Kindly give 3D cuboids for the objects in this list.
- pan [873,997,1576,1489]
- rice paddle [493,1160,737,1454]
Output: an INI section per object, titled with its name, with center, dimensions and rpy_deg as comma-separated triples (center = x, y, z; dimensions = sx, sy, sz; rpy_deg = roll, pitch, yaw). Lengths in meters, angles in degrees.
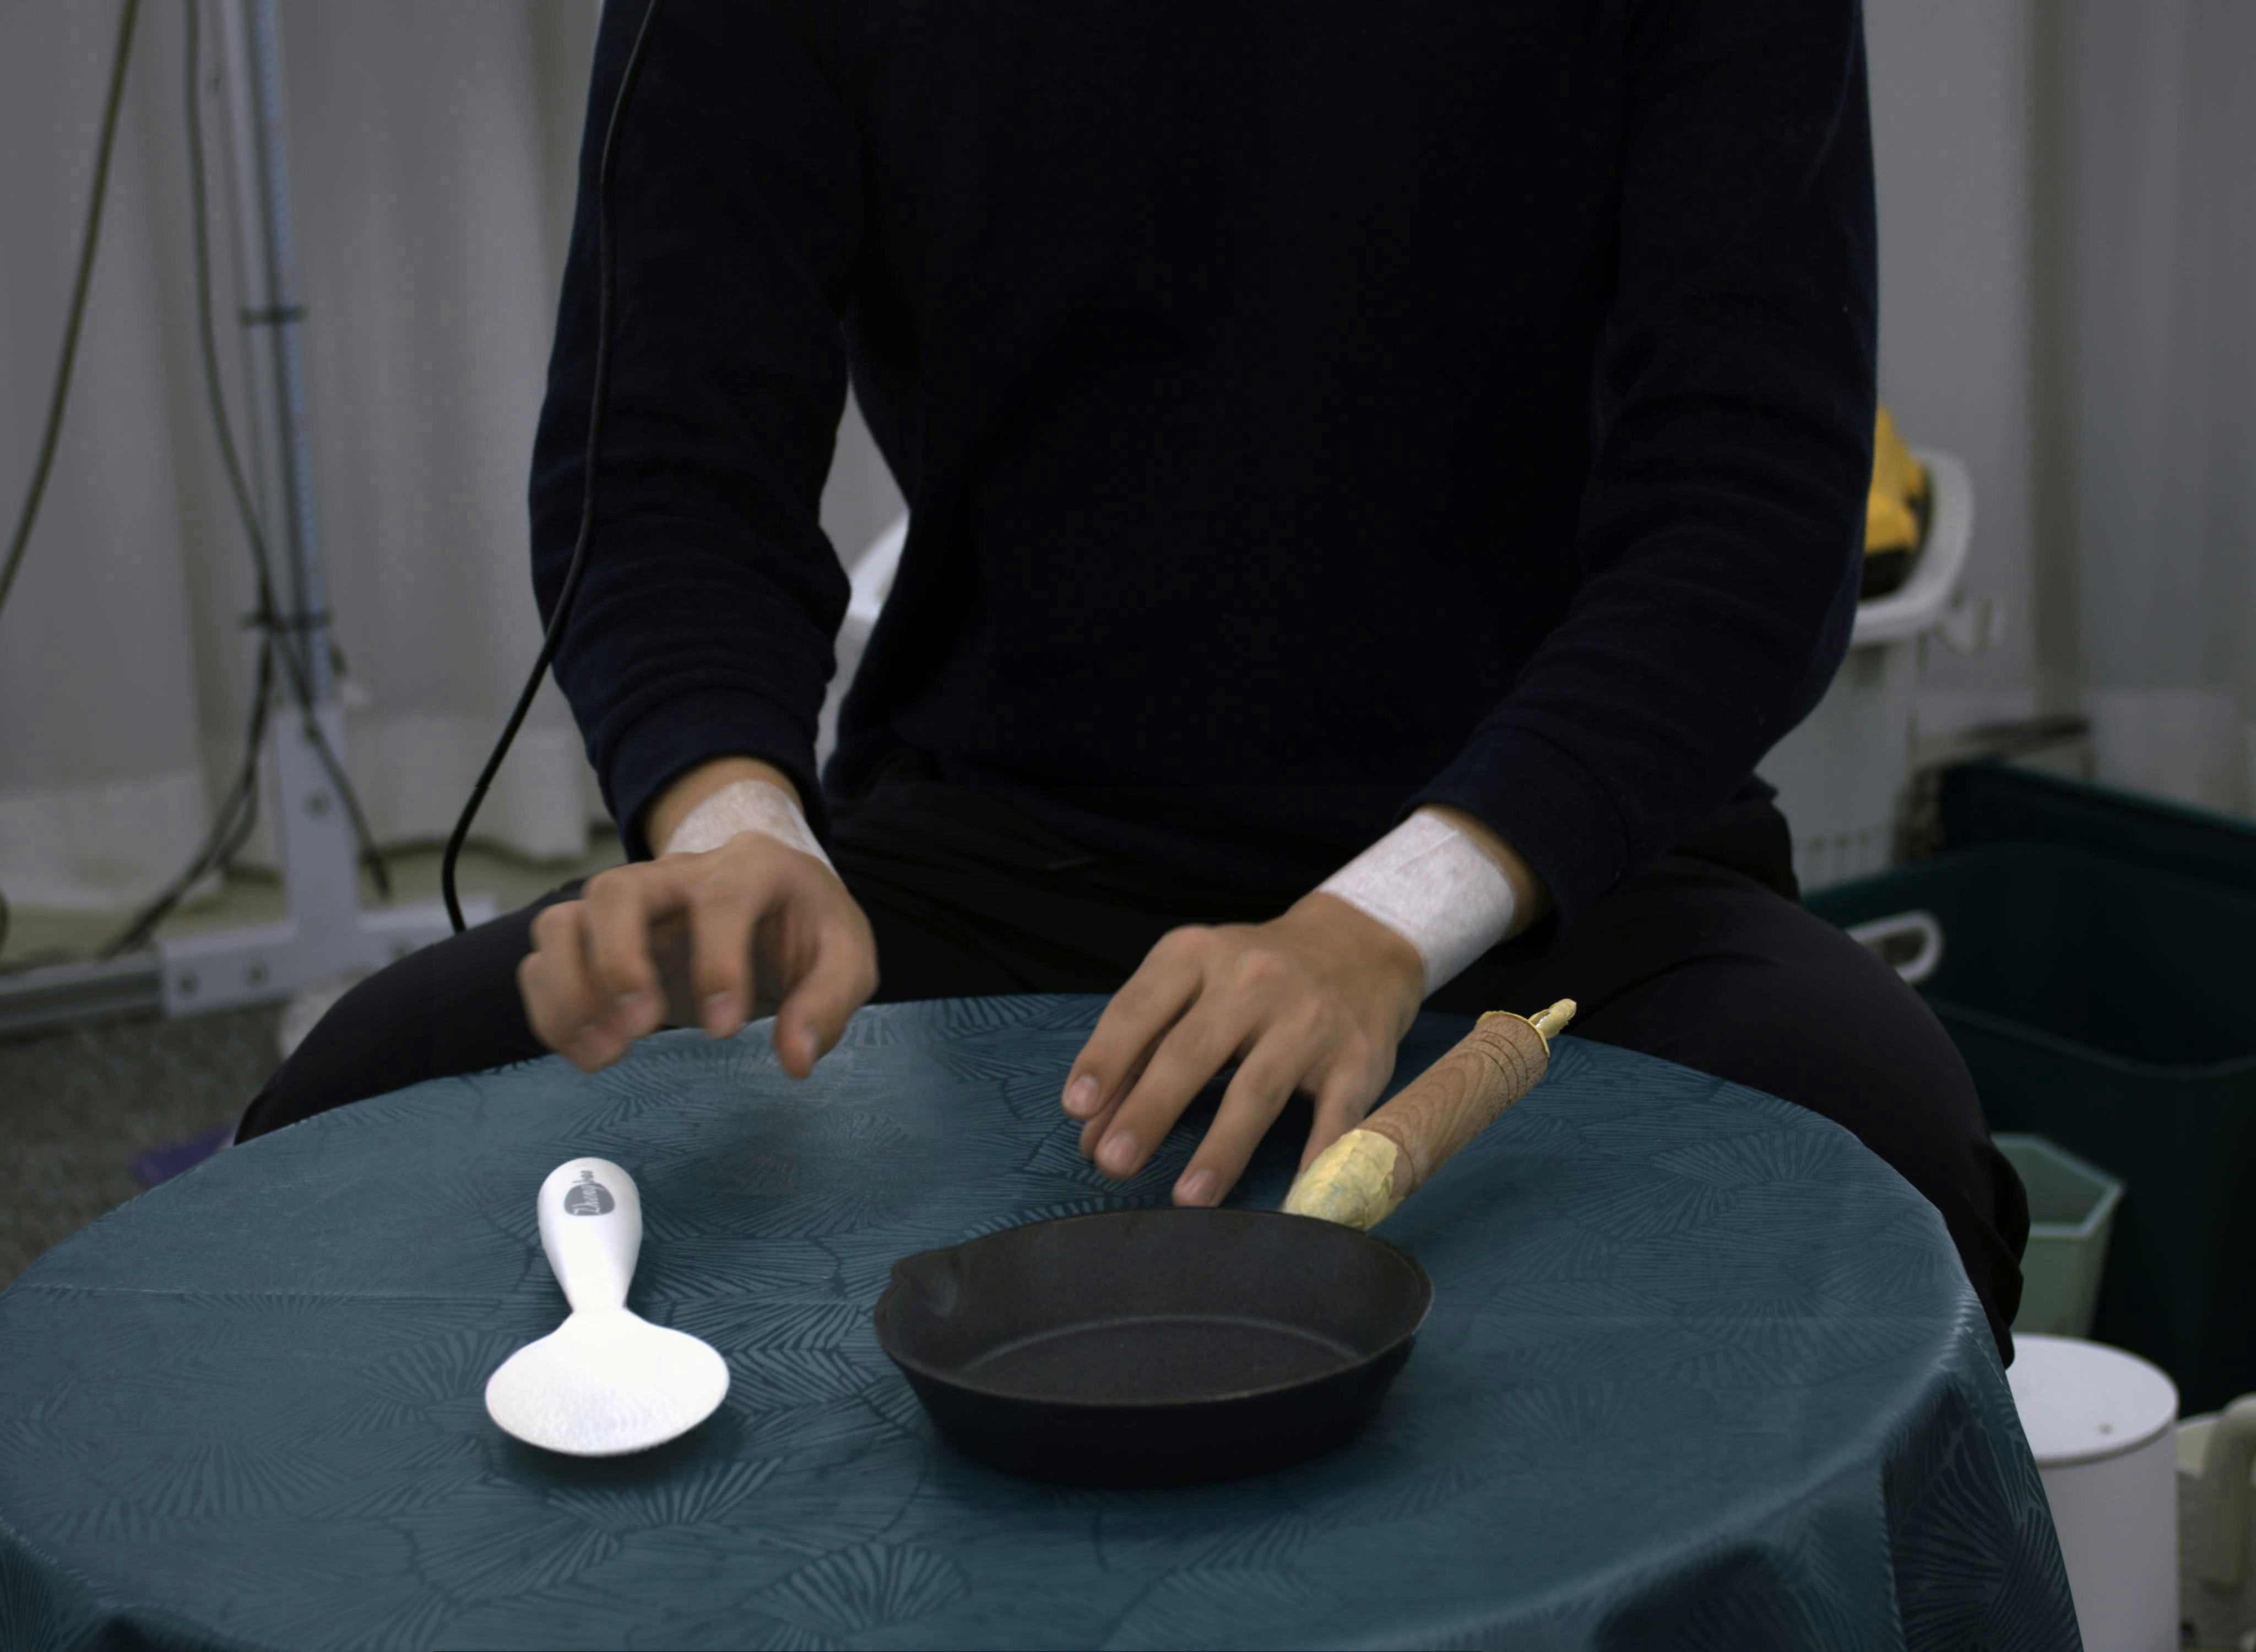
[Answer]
[pan]
center = 0.053, 0.118, 1.595
dimensions = 0.169, 0.049, 0.324
rpy_deg = 6, 19, 32
[rice paddle]
center = -0.152, 0.142, 1.589
dimensions = 0.068, 0.029, 0.207
rpy_deg = -7, 15, -7
